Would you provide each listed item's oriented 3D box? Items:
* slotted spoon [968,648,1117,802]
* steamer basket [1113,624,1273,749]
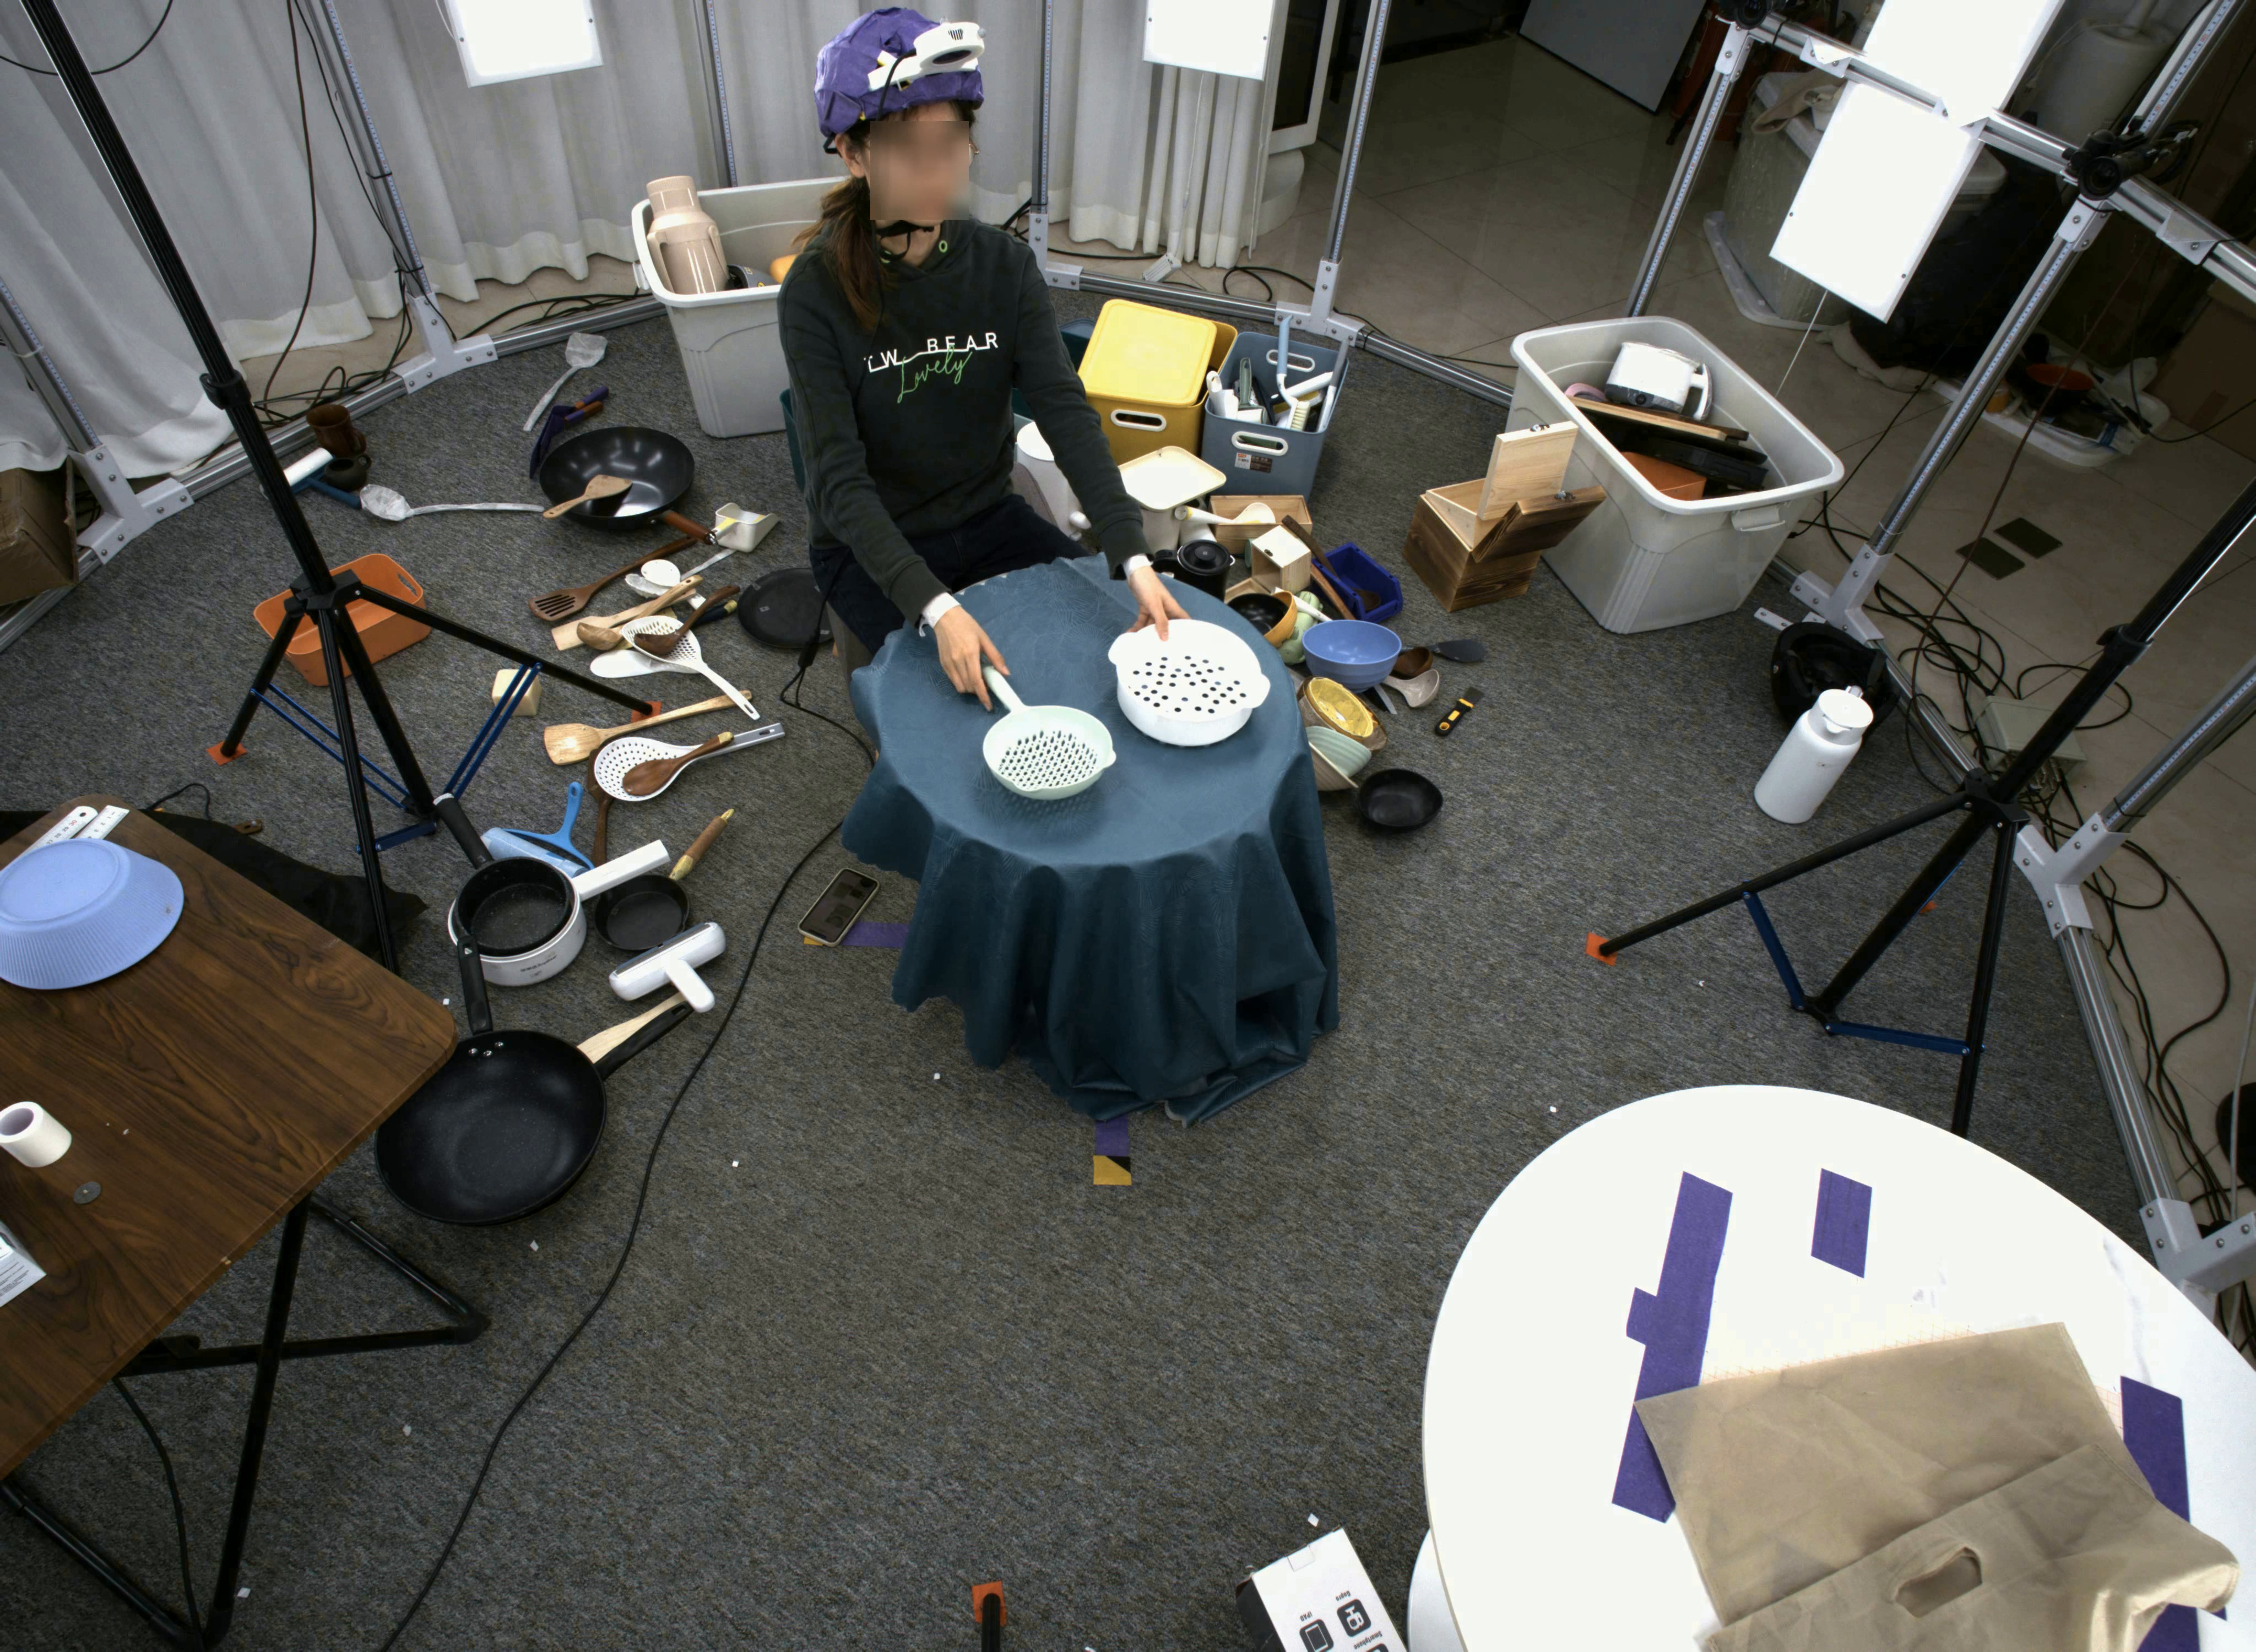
[{"bbox_3d":[-0.149,-0.155,1.767,0.169,0.073,0.367,-18,53,-20],"label":"slotted spoon"},{"bbox_3d":[0.089,-0.197,1.820,0.231,0.067,0.206,19,50,12],"label":"steamer basket"}]
